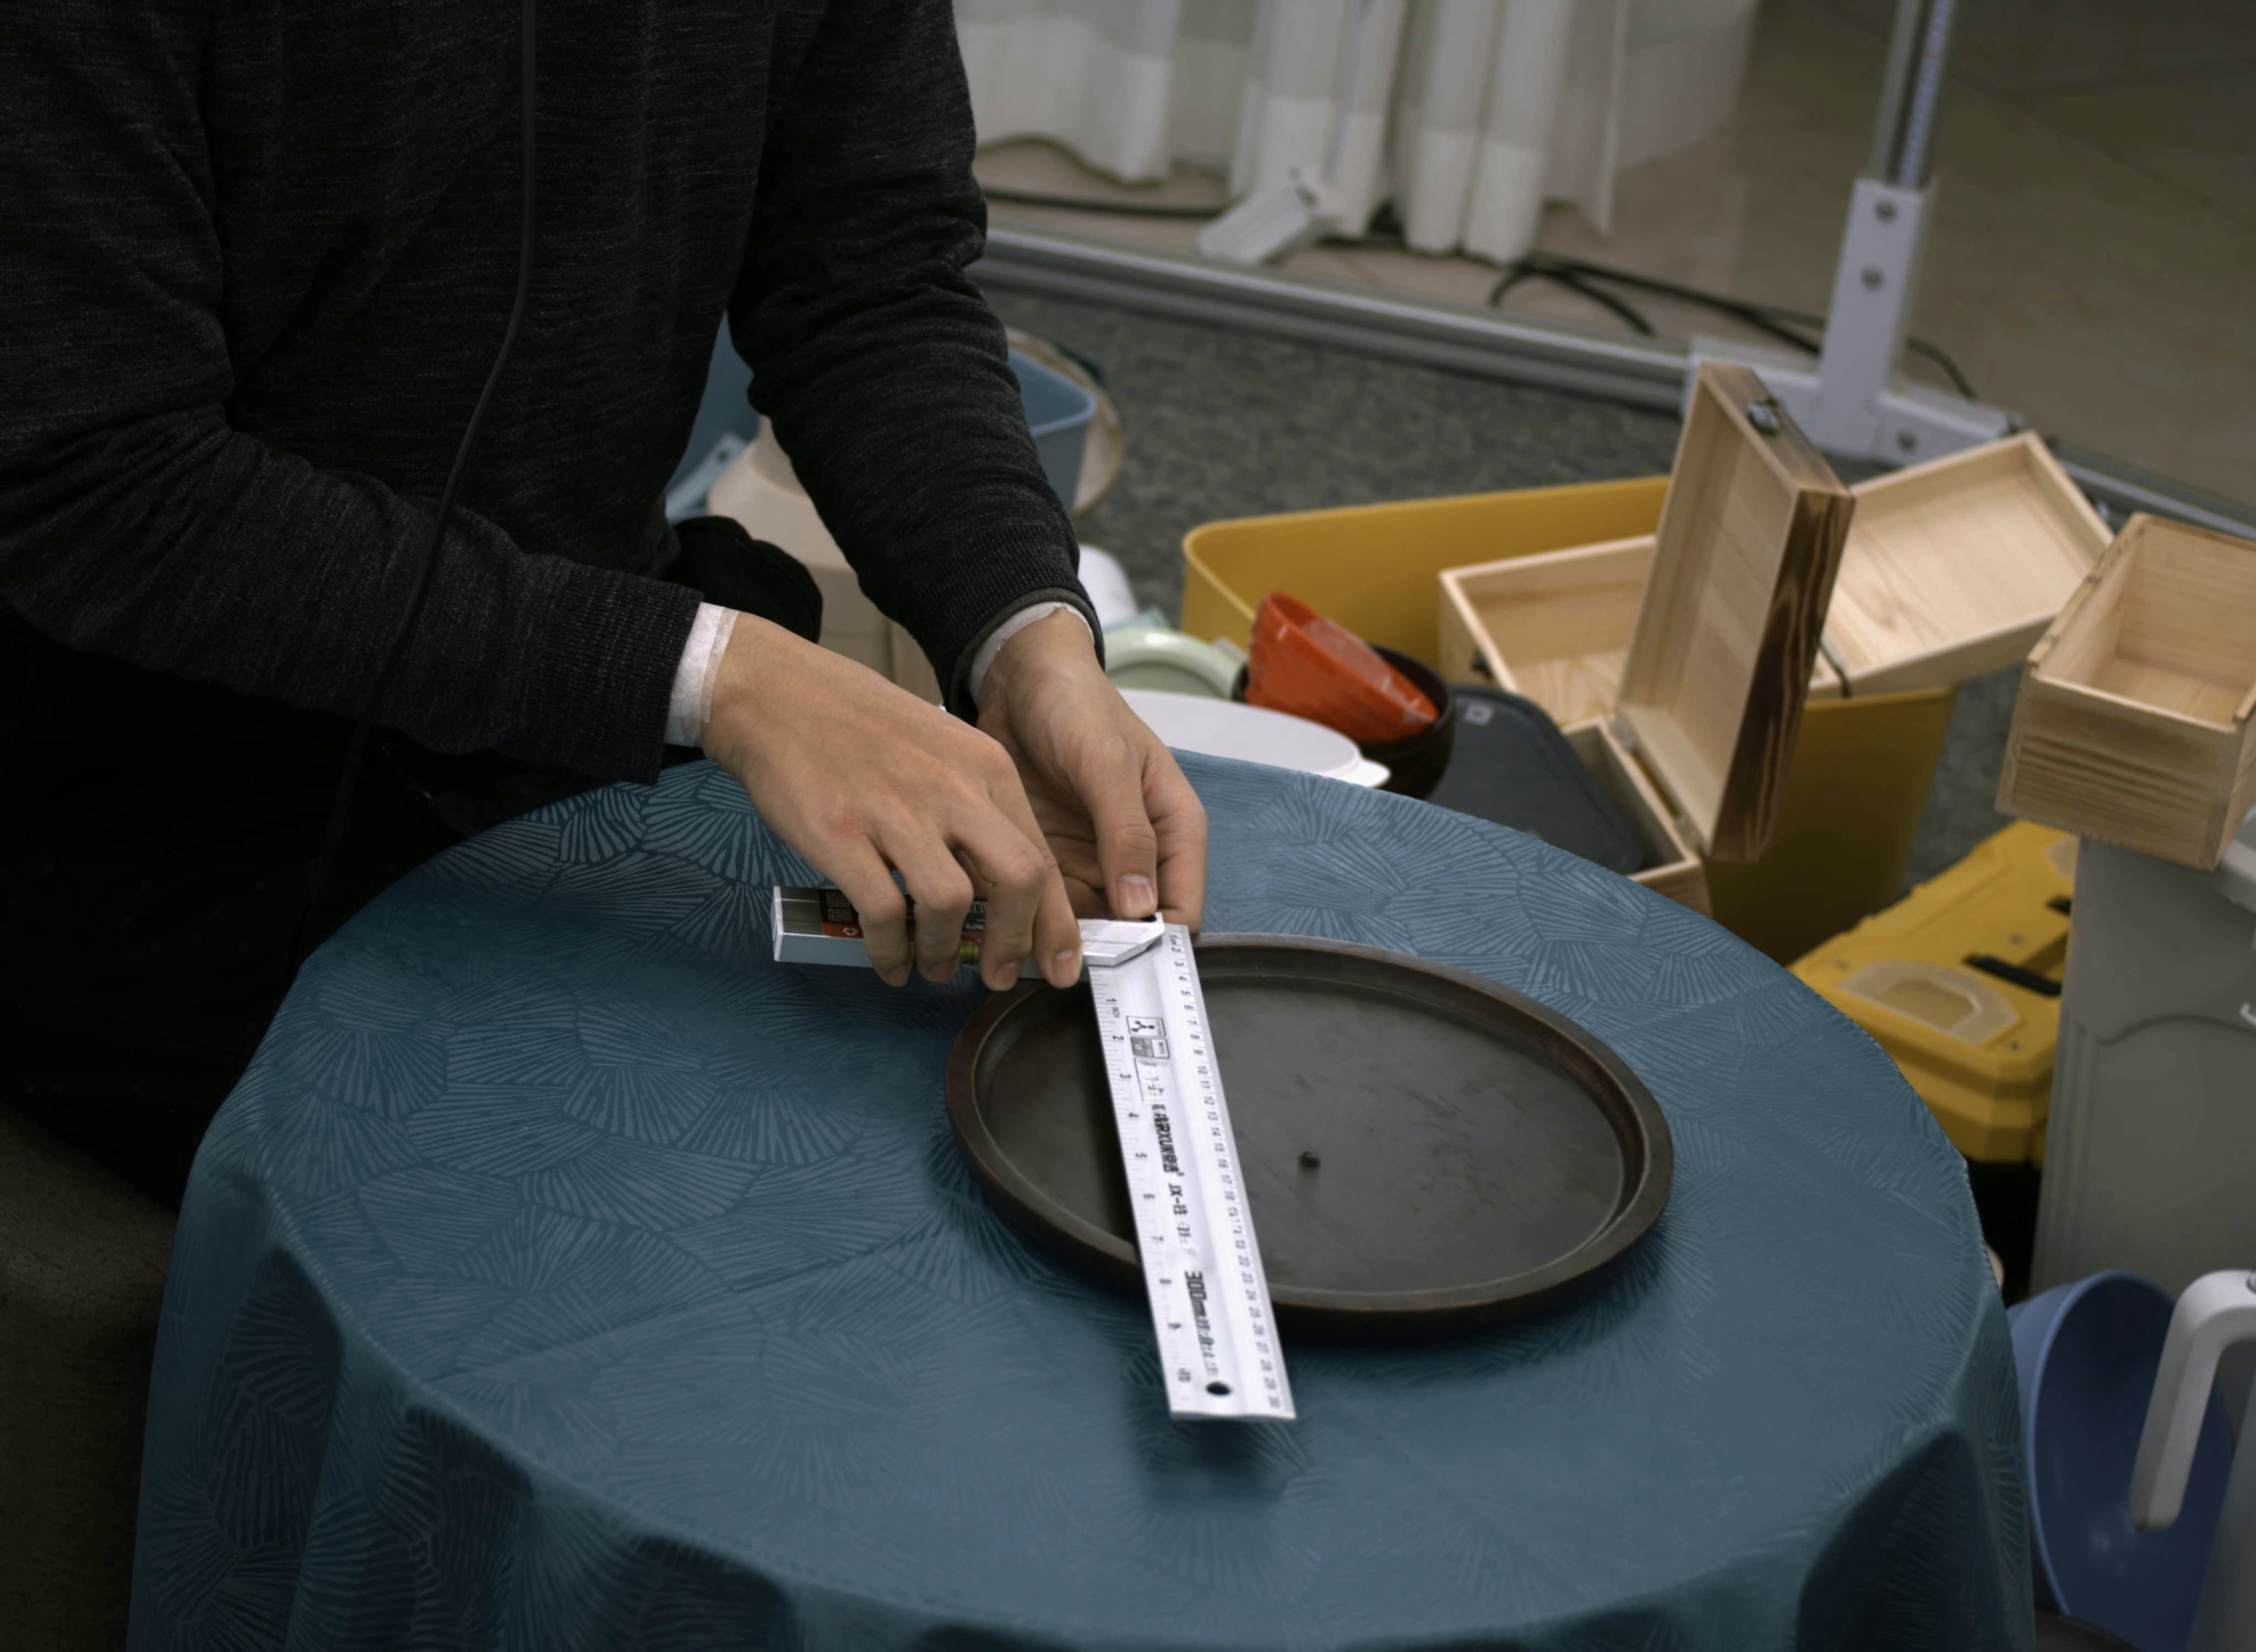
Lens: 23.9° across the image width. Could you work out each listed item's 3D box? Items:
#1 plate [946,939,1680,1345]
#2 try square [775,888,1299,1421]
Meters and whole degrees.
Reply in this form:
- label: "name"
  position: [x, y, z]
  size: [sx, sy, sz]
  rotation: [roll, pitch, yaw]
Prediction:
- label: "plate"
  position: [0.062, 0.106, 1.825]
  size: [0.254, 0.029, 0.256]
  rotation: [6, 27, -3]
- label: "try square"
  position: [-0.037, 0.105, 1.776]
  size: [0.151, 0.016, 0.315]
  rotation: [3, 28, -8]
